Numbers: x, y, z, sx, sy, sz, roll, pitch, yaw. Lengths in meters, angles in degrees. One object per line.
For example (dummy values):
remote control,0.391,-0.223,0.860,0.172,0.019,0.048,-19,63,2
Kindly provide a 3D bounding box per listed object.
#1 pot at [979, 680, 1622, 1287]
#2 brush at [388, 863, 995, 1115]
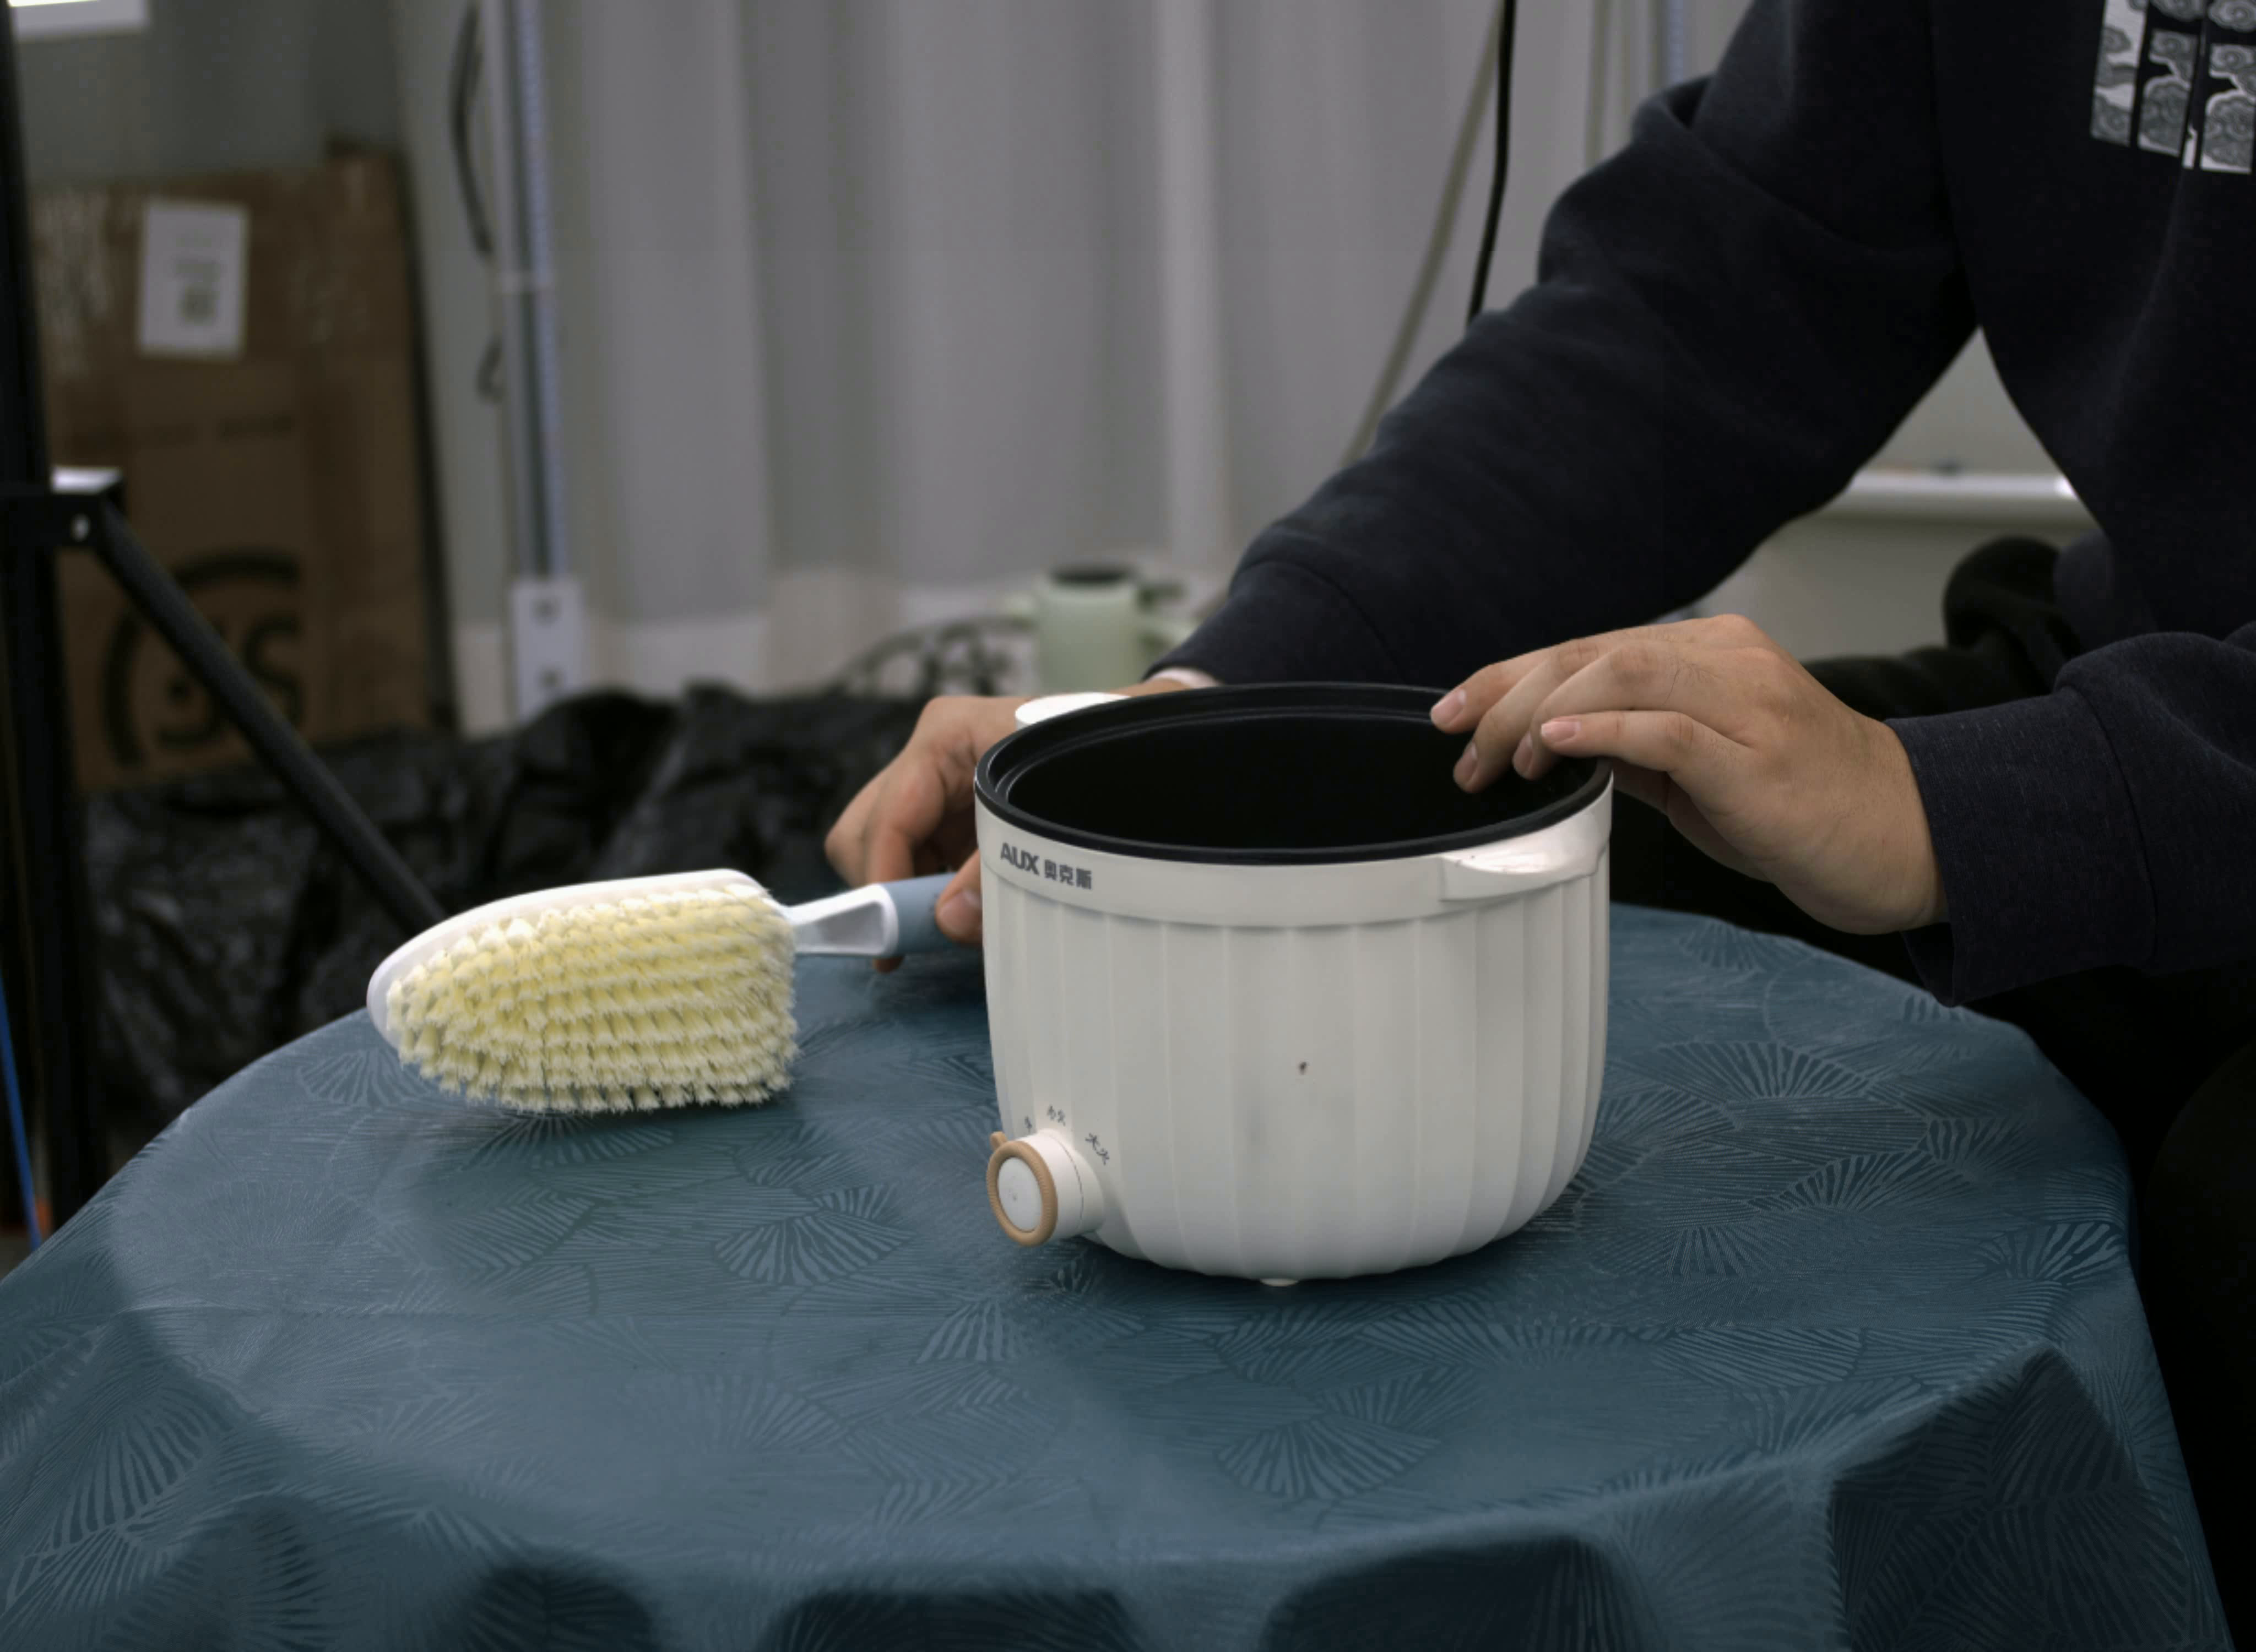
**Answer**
pot,0.046,0.047,1.513,0.186,0.143,0.246,-9,16,-35
brush,-0.077,0.036,1.687,0.318,0.083,0.086,-8,53,-29
